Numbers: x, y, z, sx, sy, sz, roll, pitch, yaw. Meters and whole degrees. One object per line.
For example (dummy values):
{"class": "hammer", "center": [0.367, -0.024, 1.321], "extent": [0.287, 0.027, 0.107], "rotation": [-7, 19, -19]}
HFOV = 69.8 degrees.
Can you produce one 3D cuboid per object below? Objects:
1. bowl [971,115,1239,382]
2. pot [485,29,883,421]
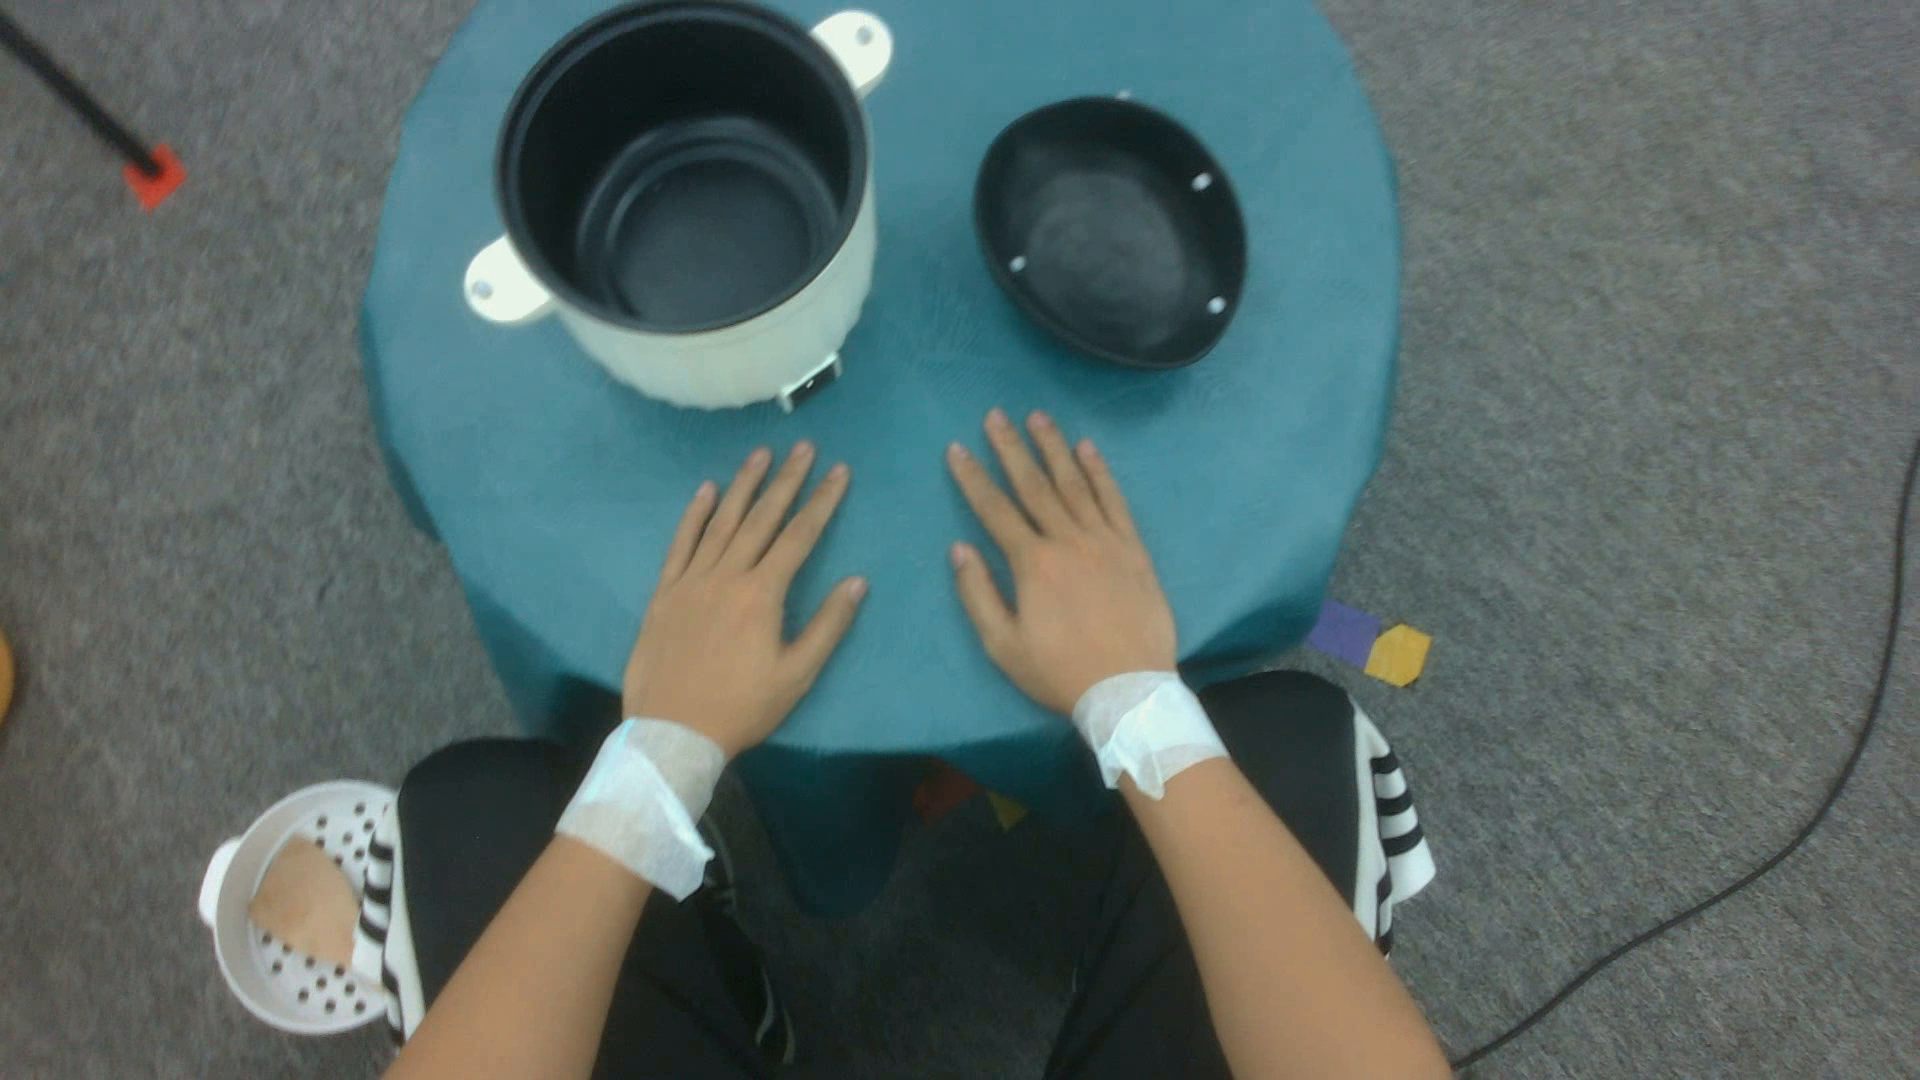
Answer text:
{"class": "bowl", "center": [0.082, -0.159, 0.786], "extent": [0.137, 0.066, 0.170], "rotation": [-39, 78, -9]}
{"class": "pot", "center": [-0.140, -0.163, 0.751], "extent": [0.241, 0.142, 0.190], "rotation": [-39, 80, -11]}
